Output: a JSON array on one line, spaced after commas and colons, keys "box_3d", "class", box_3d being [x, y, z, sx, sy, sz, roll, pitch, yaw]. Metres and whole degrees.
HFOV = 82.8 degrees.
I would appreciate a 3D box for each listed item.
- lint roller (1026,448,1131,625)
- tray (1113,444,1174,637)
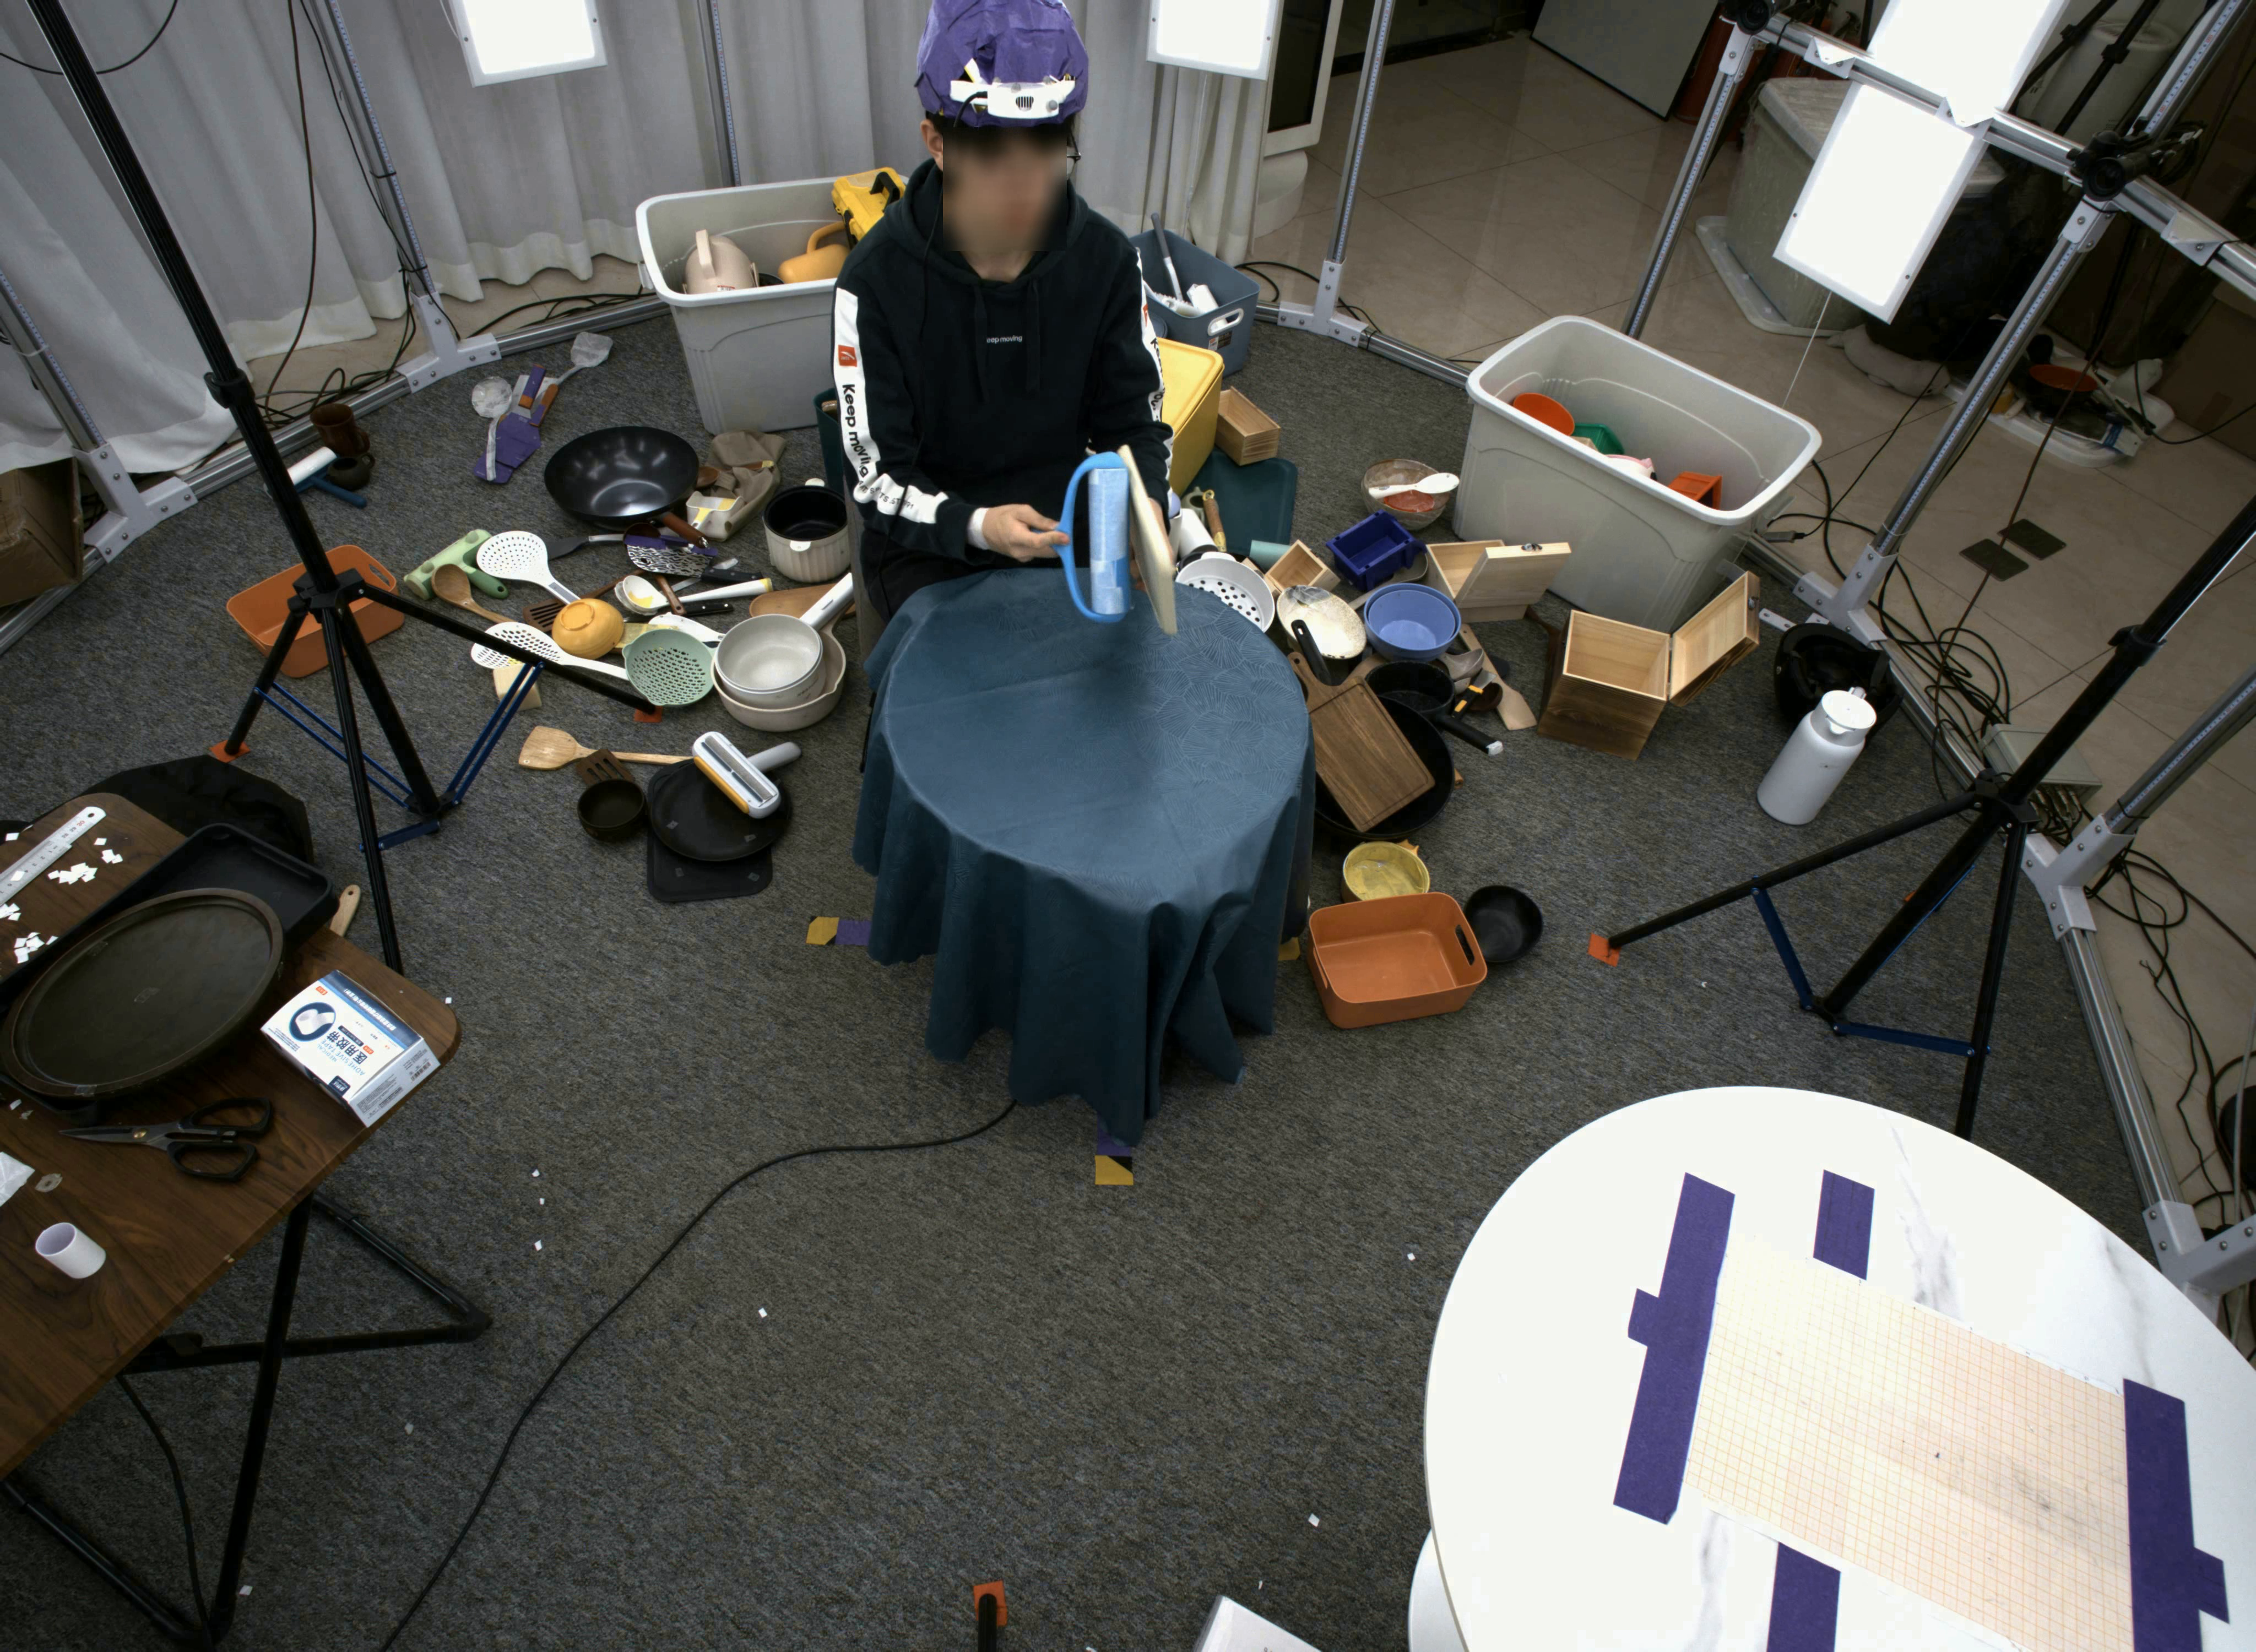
[{"box_3d": [-0.077, -0.386, 1.725, 0.181, 0.225, 0.068, 8, 23, 30], "class": "lint roller"}, {"box_3d": [0.019, -0.382, 1.730, 0.017, 0.167, 0.245, -15, 56, -3], "class": "tray"}]
